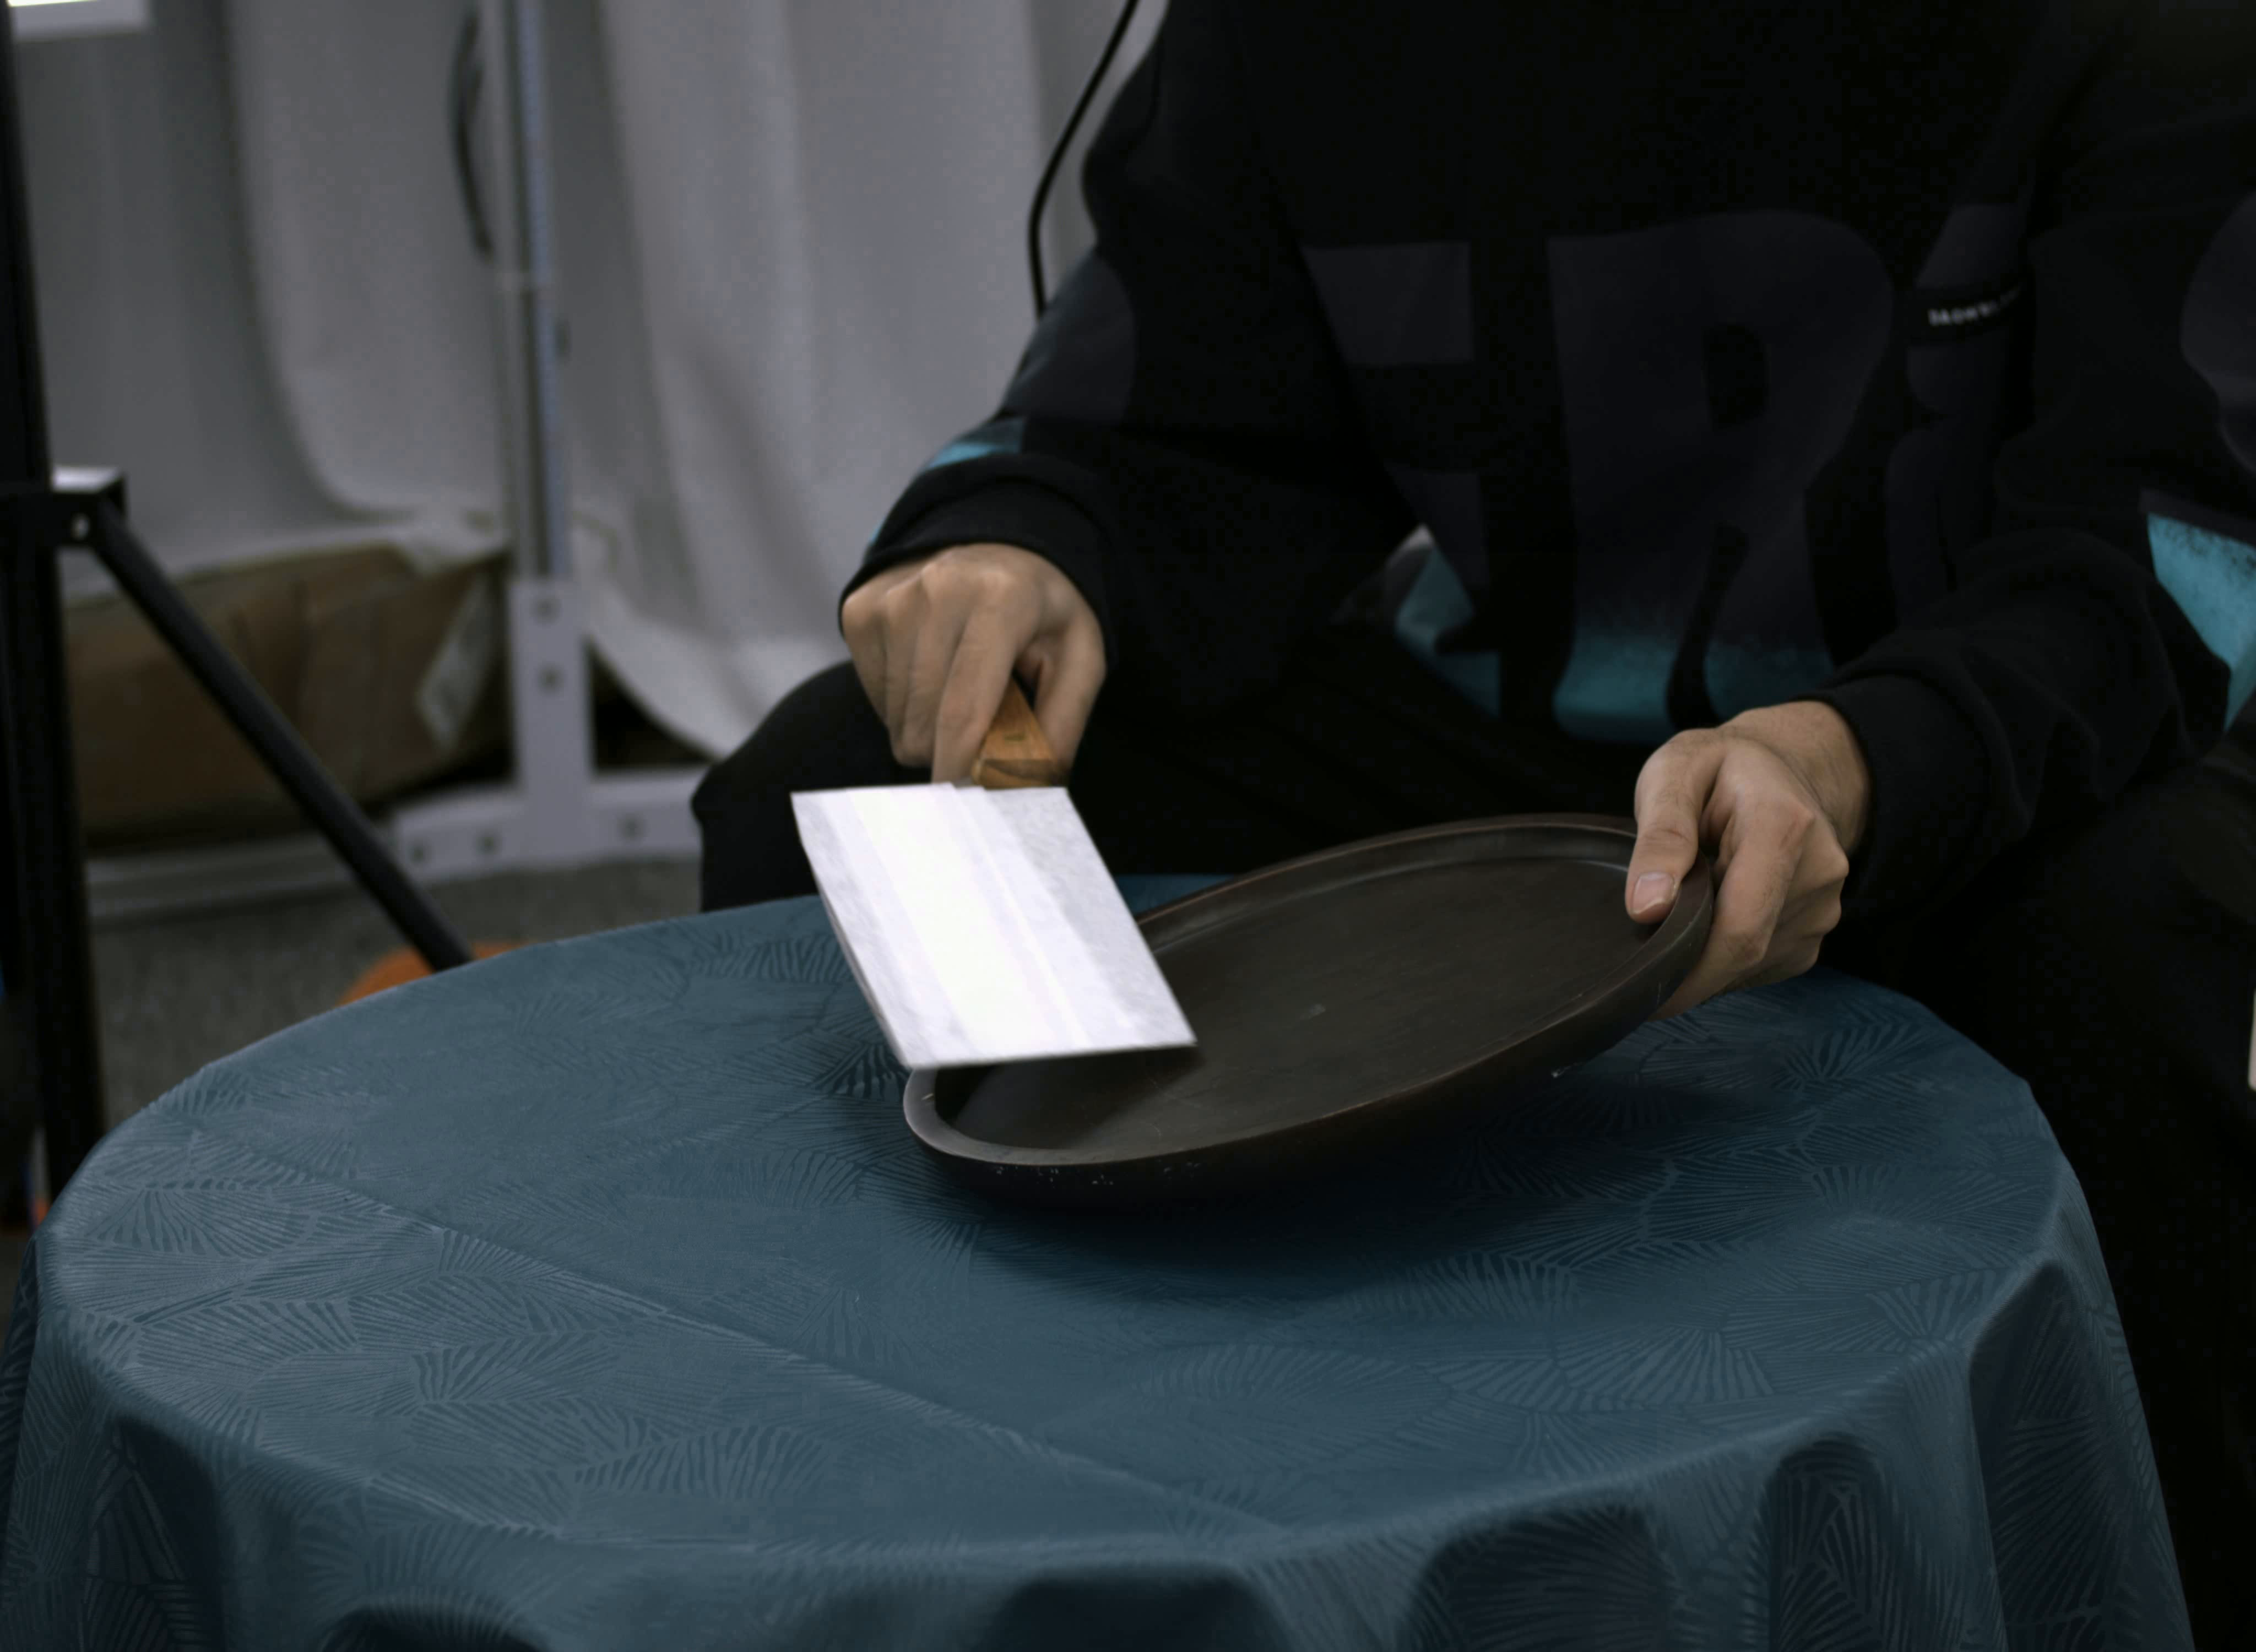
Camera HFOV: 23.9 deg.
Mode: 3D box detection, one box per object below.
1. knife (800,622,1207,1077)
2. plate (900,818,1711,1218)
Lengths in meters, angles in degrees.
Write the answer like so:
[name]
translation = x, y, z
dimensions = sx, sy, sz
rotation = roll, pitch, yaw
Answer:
[knife]
translation = -0.054, 0.005, 1.706
dimensions = 0.091, 0.021, 0.311
rotation = -8, 27, -12
[plate]
translation = 0.054, 0.055, 1.587
dimensions = 0.254, 0.029, 0.256
rotation = -19, 16, 4
